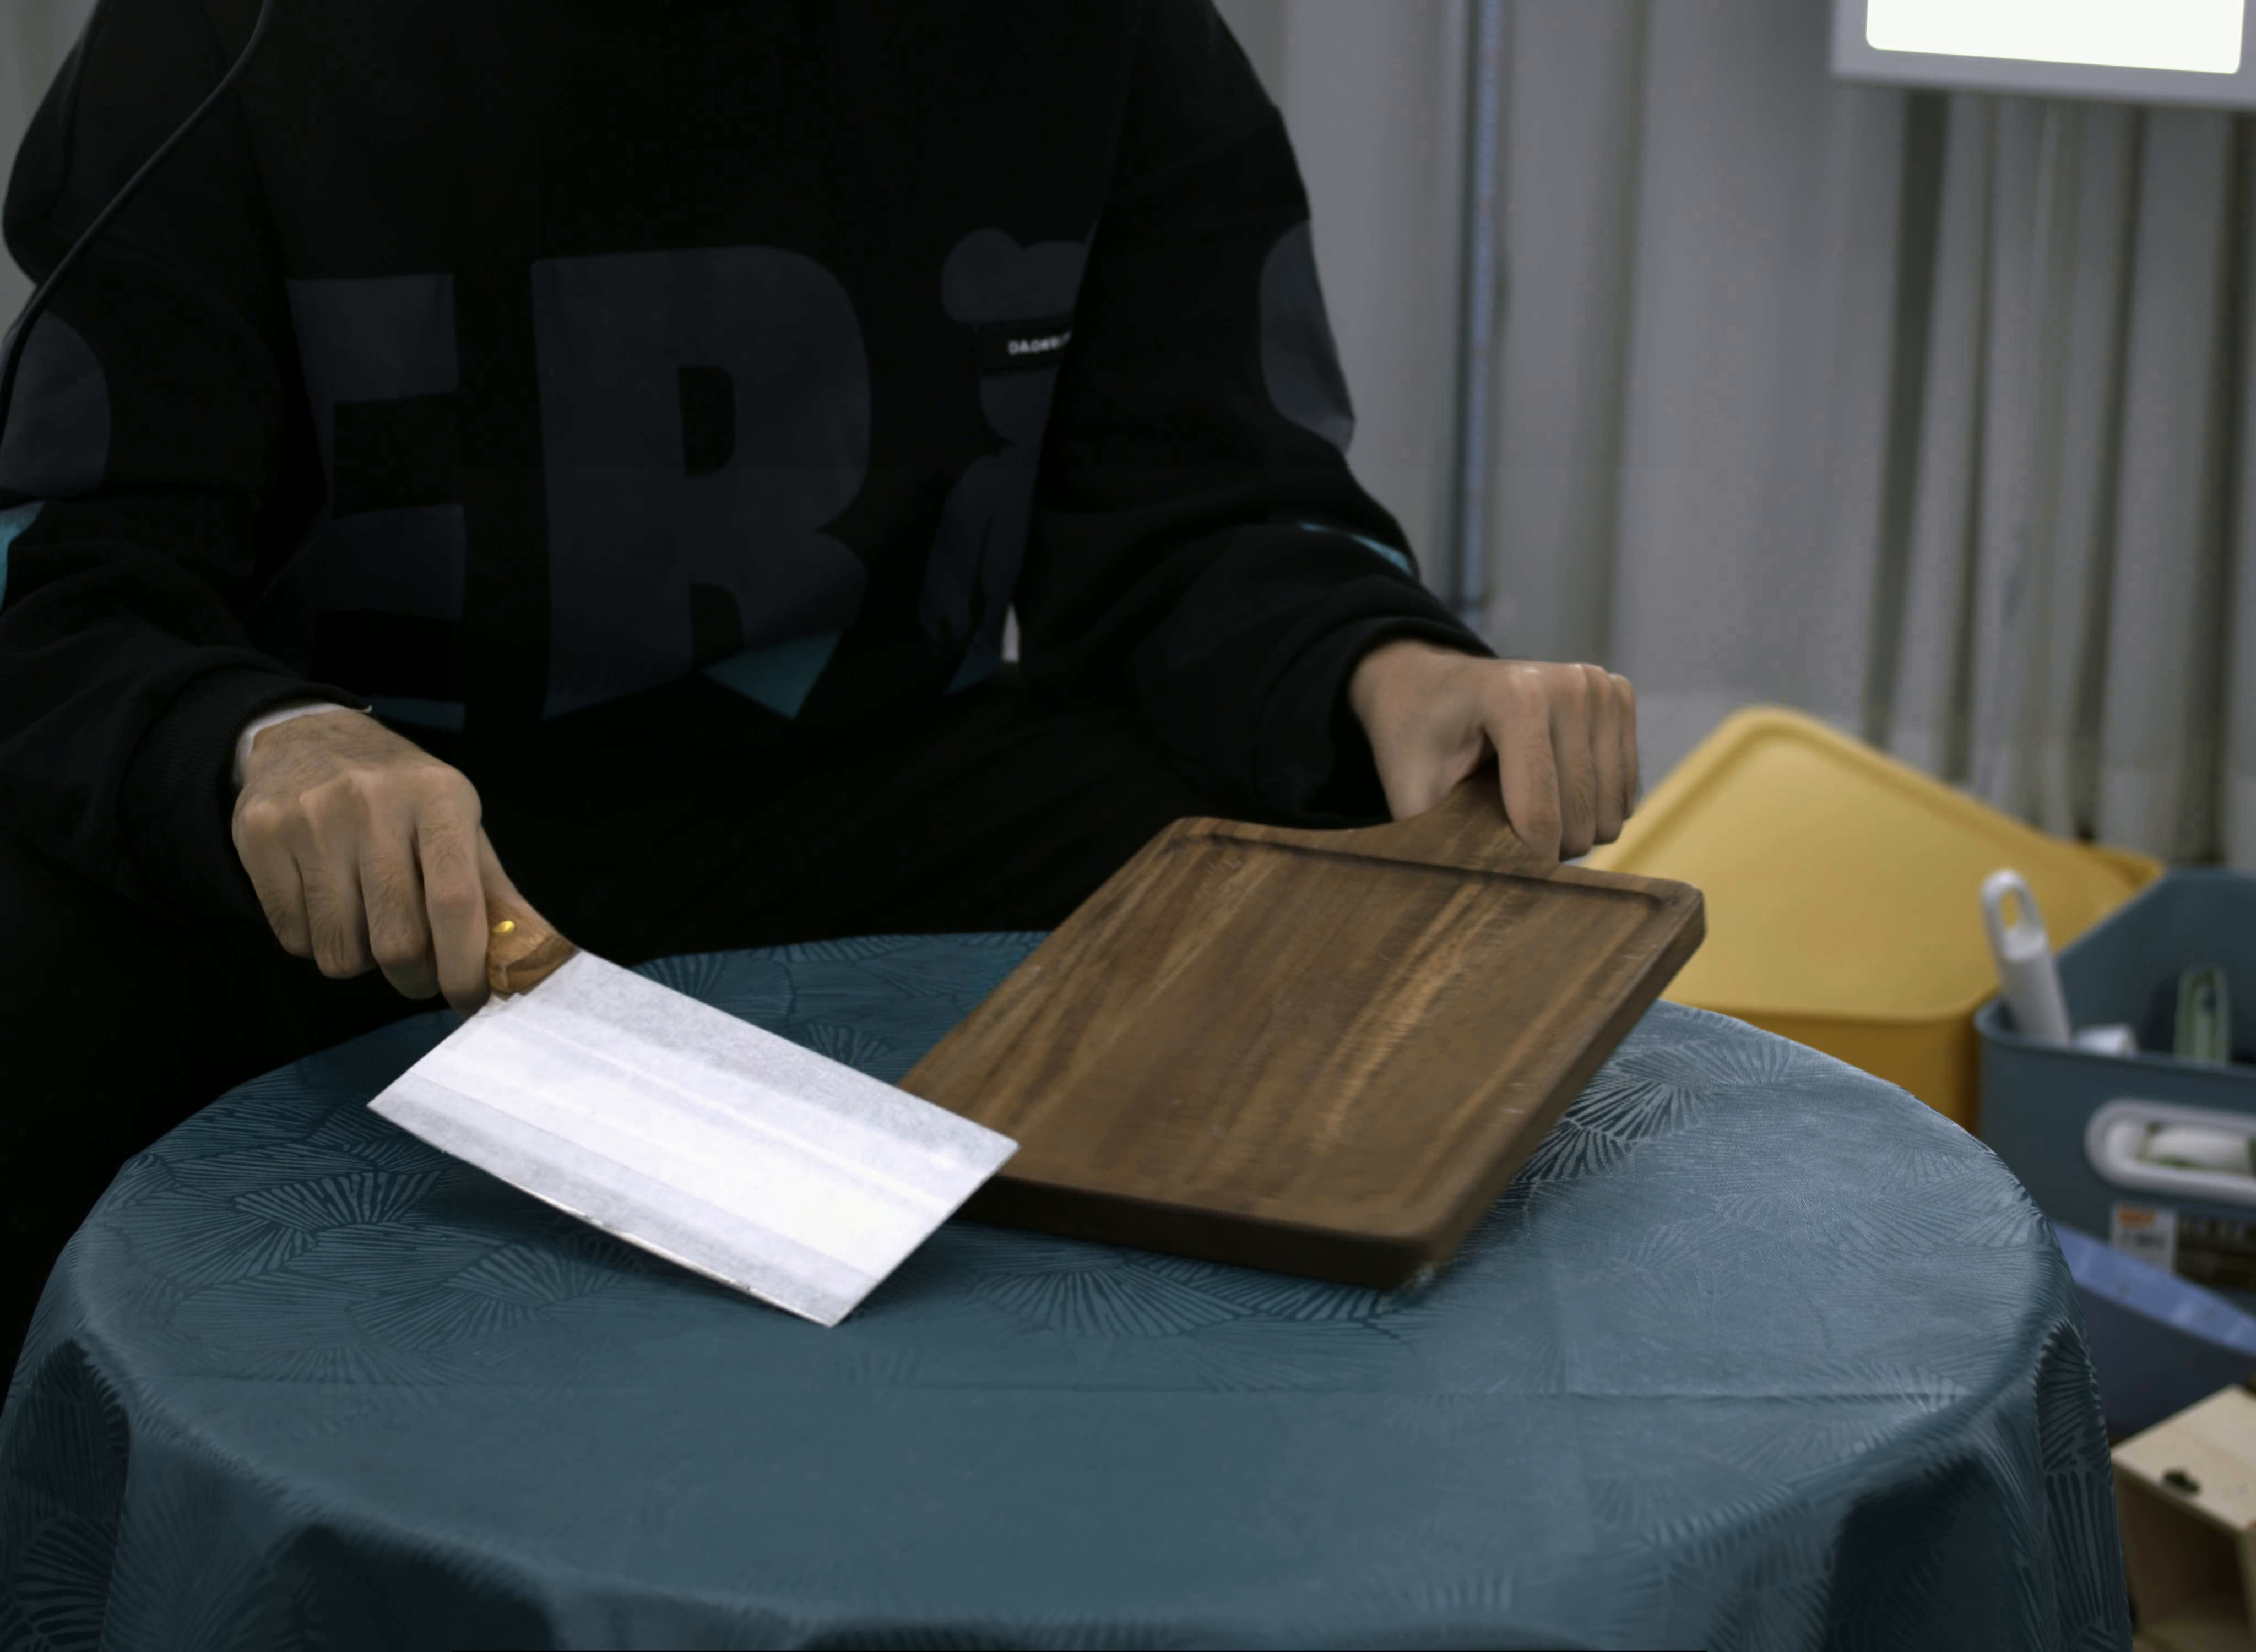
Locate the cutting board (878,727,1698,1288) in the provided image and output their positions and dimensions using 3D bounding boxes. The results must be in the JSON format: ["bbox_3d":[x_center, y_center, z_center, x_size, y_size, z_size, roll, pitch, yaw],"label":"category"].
[{"bbox_3d":[0.070,0.046,1.710,0.199,0.023,0.352,8,28,25],"label":"cutting board"}]

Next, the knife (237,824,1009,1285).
[{"bbox_3d":[-0.176,0.071,1.612,0.302,0.021,0.093,22,48,32],"label":"knife"}]
